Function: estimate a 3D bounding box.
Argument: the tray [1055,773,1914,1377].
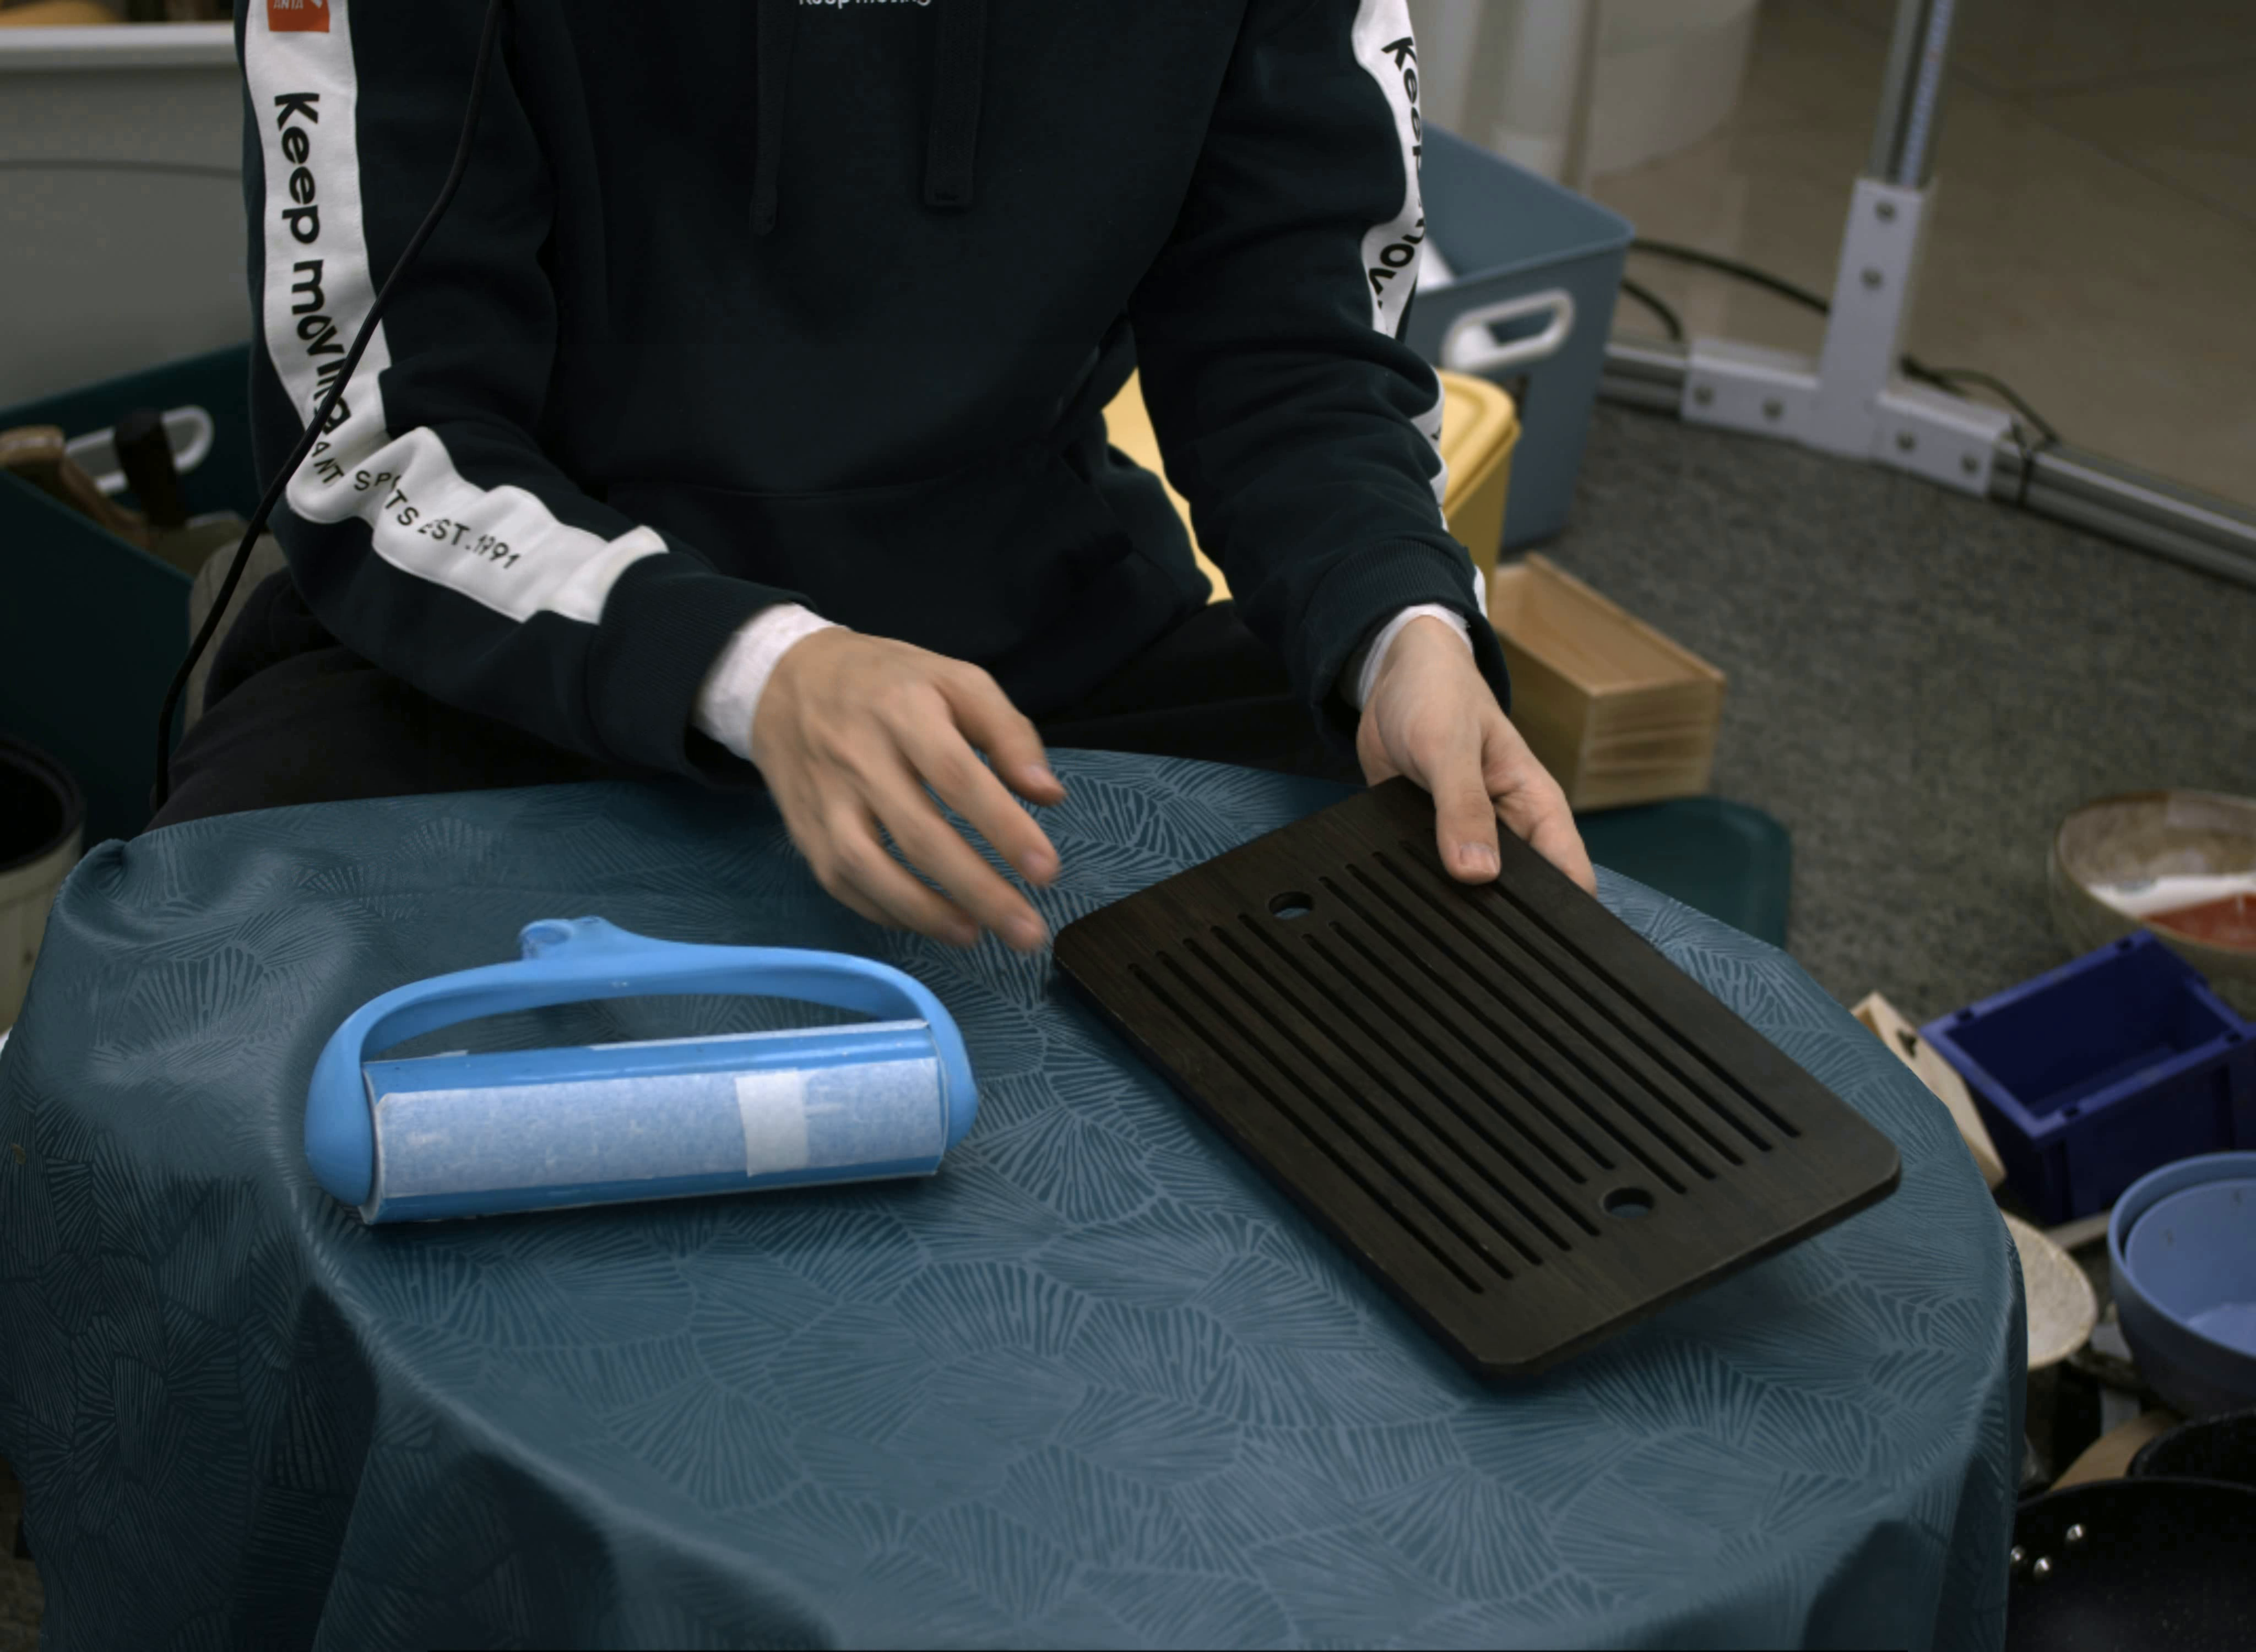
[{"bbox_3d":[0.117,0.082,1.841,0.169,0.018,0.309,-24,37,-20],"label":"tray"}]

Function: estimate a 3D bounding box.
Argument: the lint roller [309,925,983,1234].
[{"bbox_3d":[-0.179,0.069,1.803,0.227,0.067,0.182,-7,31,-21],"label":"lint roller"}]
